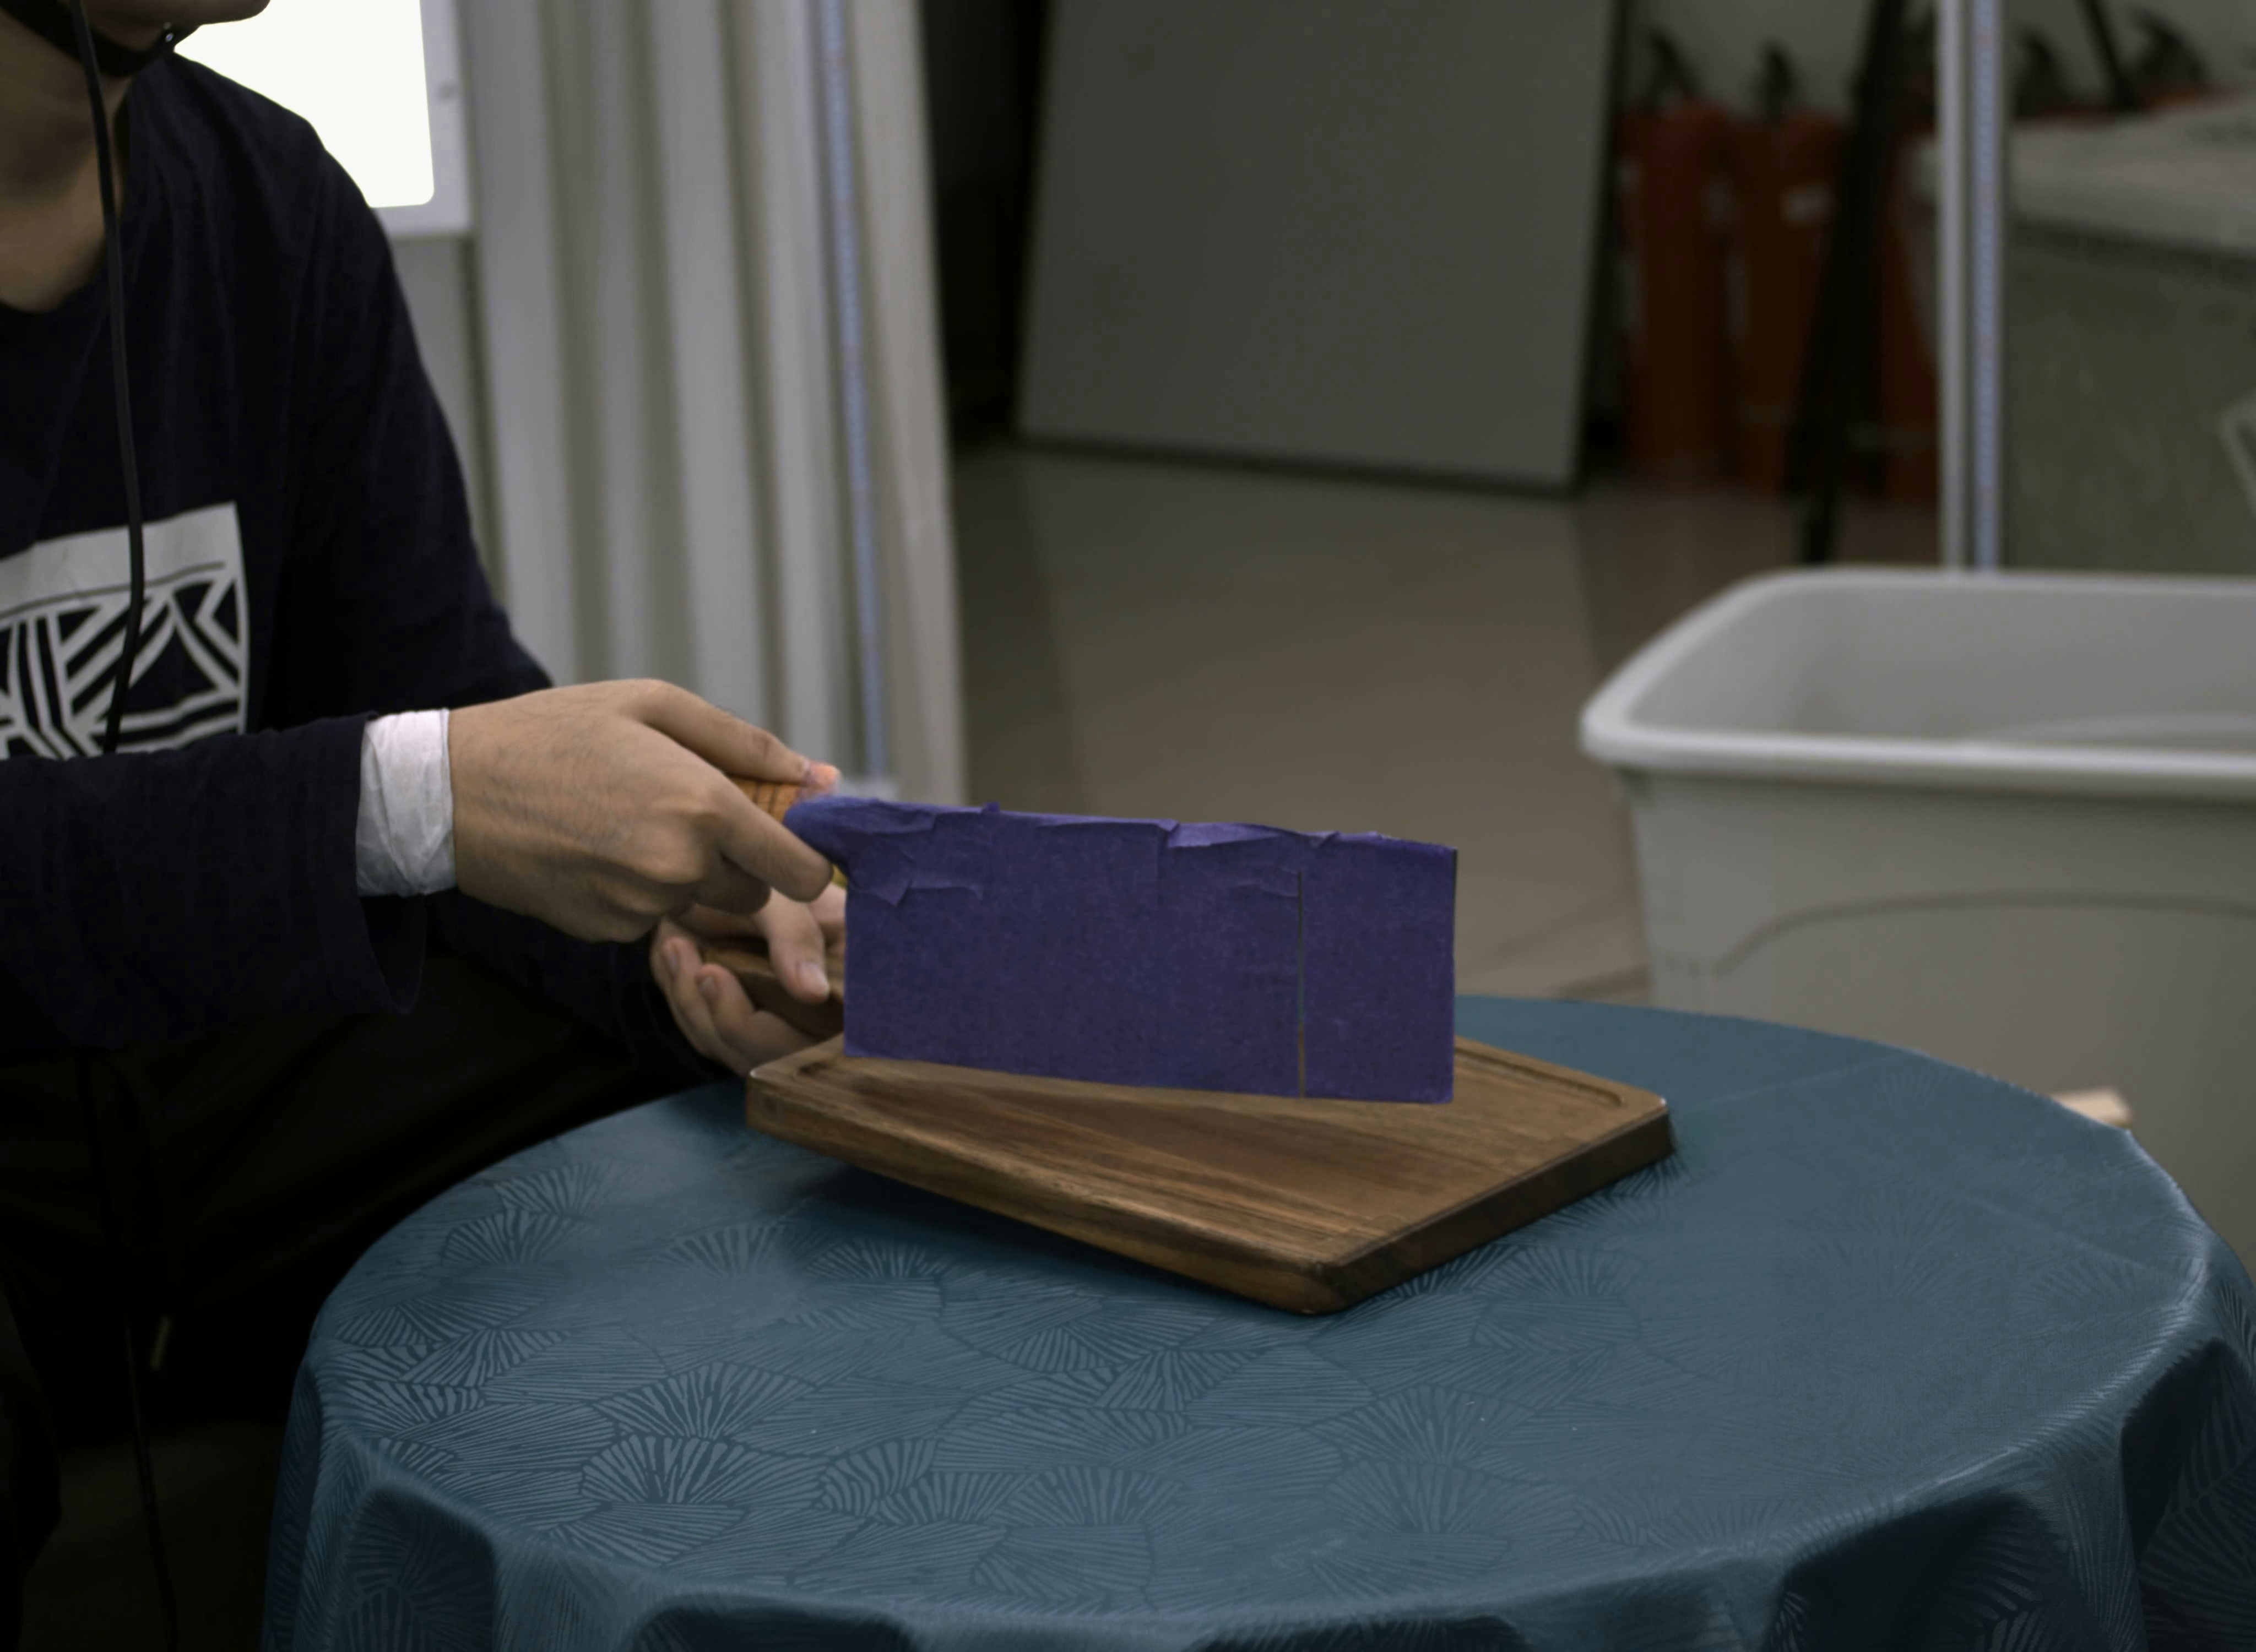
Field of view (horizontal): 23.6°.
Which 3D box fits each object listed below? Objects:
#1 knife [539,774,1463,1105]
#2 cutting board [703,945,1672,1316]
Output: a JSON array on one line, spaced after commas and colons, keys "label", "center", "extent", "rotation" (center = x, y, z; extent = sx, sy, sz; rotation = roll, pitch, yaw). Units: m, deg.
[{"label": "knife", "center": [-0.044, 0.037, 1.775], "extent": [0.314, 0.105, 0.032], "rotation": [4, 12, 16]}, {"label": "cutting board", "center": [-0.011, 0.086, 1.811], "extent": [0.355, 0.023, 0.197], "rotation": [14, 22, 39]}]
